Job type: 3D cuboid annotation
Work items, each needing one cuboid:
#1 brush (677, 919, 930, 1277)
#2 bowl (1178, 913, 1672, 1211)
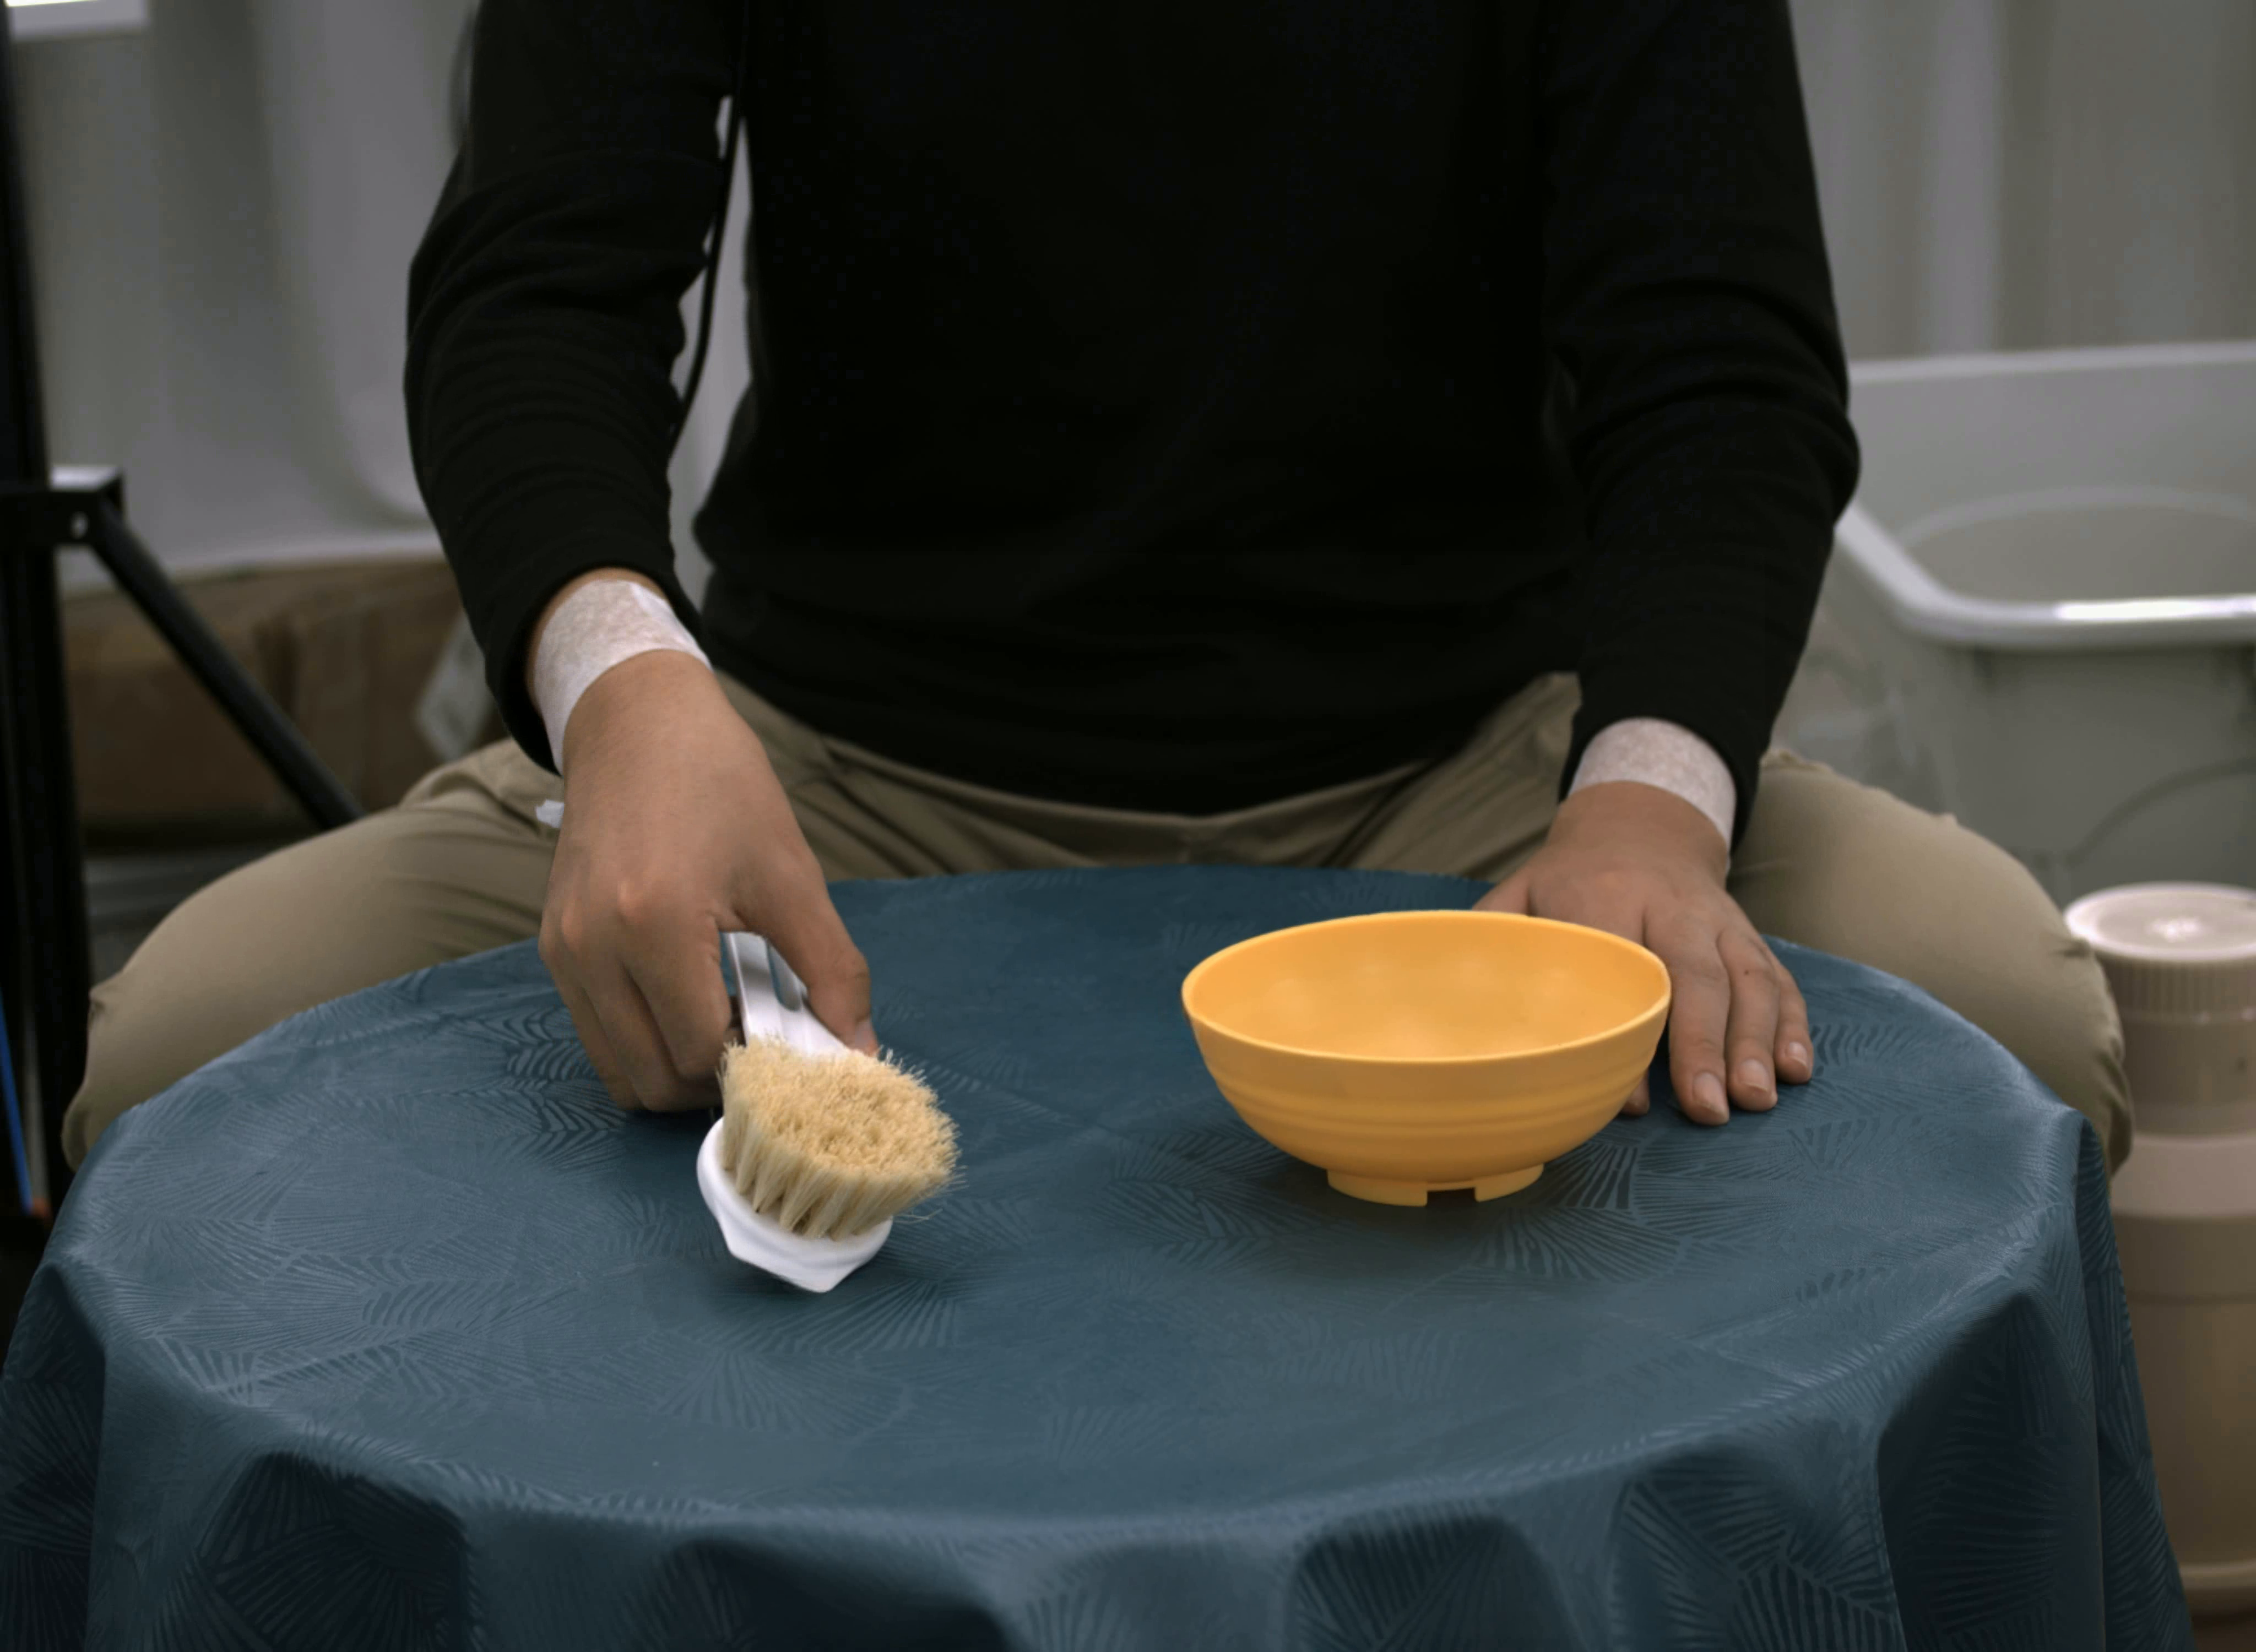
[{"bbox_3d":[-0.101,0.058,1.599,0.067,0.056,0.268,29,14,-13],"label":"brush"},{"bbox_3d":[0.087,0.074,1.556,0.144,0.060,0.146,-1,15,-1],"label":"bowl"}]
